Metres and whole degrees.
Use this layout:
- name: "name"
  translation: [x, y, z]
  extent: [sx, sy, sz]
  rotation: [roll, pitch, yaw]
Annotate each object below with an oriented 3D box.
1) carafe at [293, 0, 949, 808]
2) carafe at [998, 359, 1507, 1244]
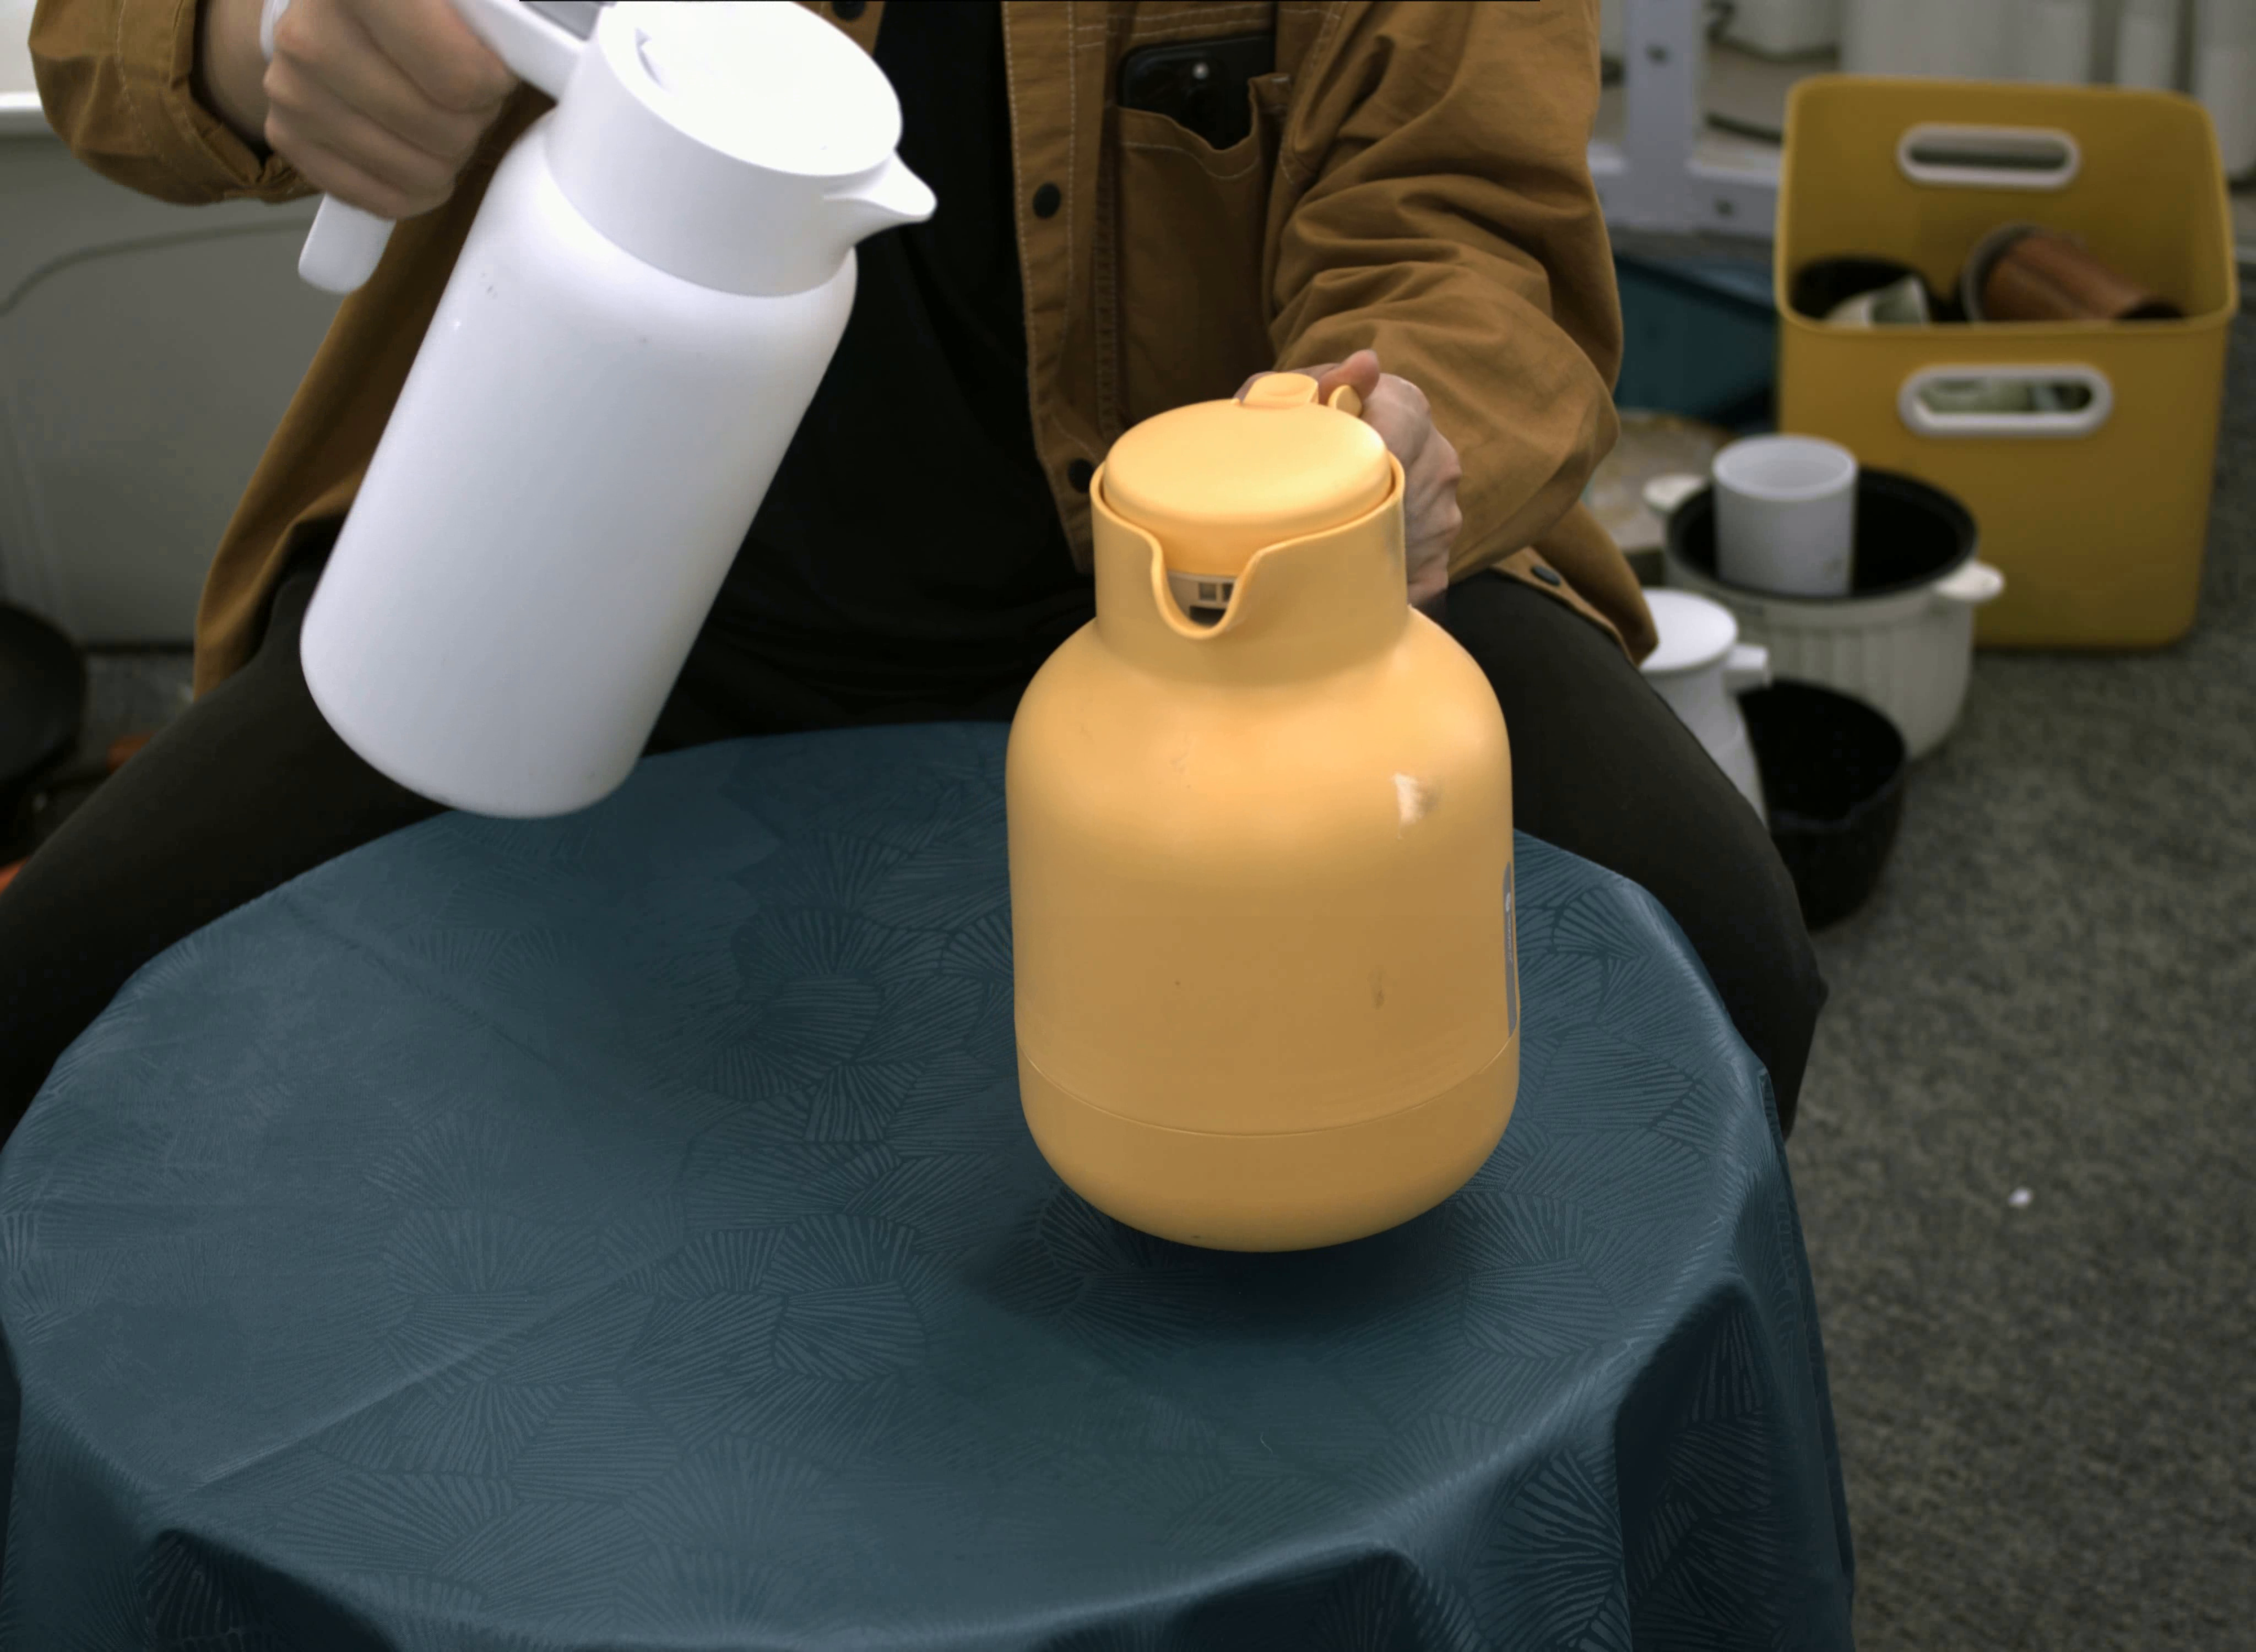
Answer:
- name: "carafe"
  translation: [-0.180, -0.145, 1.764]
  extent: [0.172, 0.264, 0.126]
  rotation: [31, 35, 2]
- name: "carafe"
  translation: [0.046, -0.017, 1.794]
  extent: [0.162, 0.257, 0.206]
  rotation: [8, 29, 14]
